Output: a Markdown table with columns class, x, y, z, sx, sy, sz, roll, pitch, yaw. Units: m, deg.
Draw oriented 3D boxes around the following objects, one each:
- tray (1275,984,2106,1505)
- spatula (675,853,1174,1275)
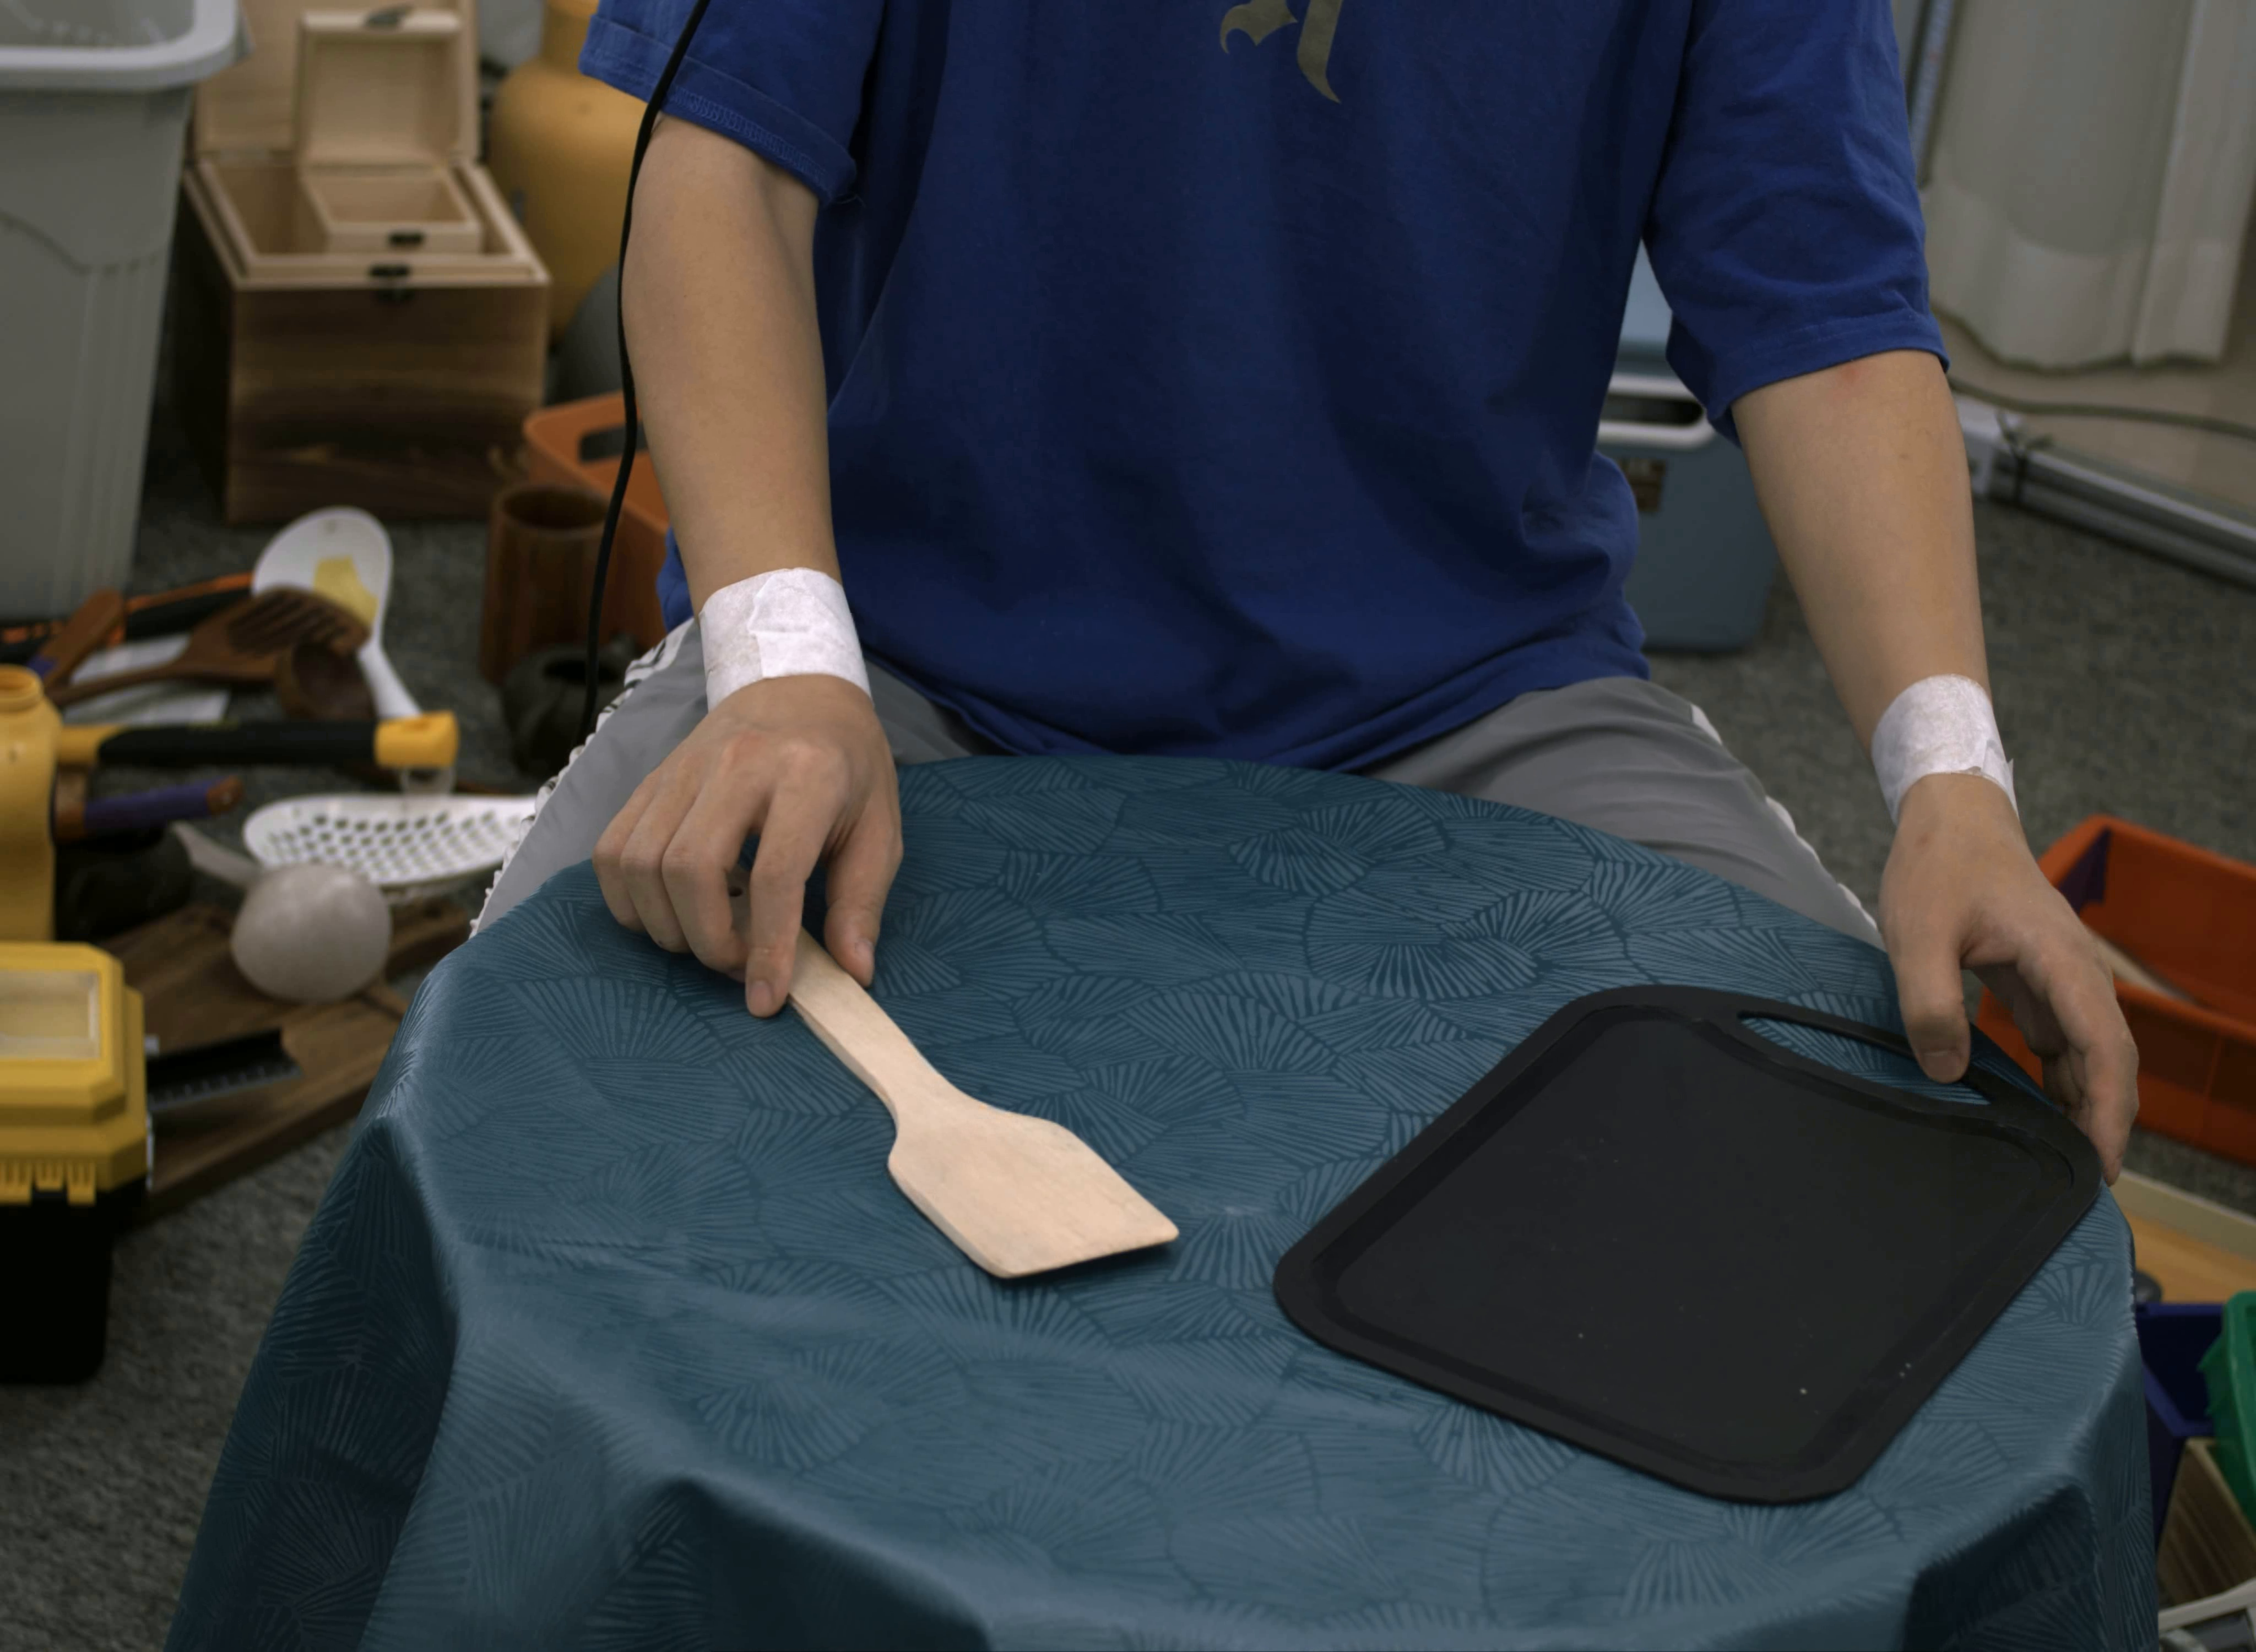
| class | x | y | z | sx | sy | sz | roll | pitch | yaw |
| --- | --- | --- | --- | --- | --- | --- | --- | --- | --- |
| tray | 0.201 | 0.132 | 1.825 | 0.212 | 0.010 | 0.325 | 20 | 30 | 24 |
| spatula | -0.086 | 0.079 | 1.862 | 0.072 | 0.010 | 0.296 | -11 | 32 | -29 |
